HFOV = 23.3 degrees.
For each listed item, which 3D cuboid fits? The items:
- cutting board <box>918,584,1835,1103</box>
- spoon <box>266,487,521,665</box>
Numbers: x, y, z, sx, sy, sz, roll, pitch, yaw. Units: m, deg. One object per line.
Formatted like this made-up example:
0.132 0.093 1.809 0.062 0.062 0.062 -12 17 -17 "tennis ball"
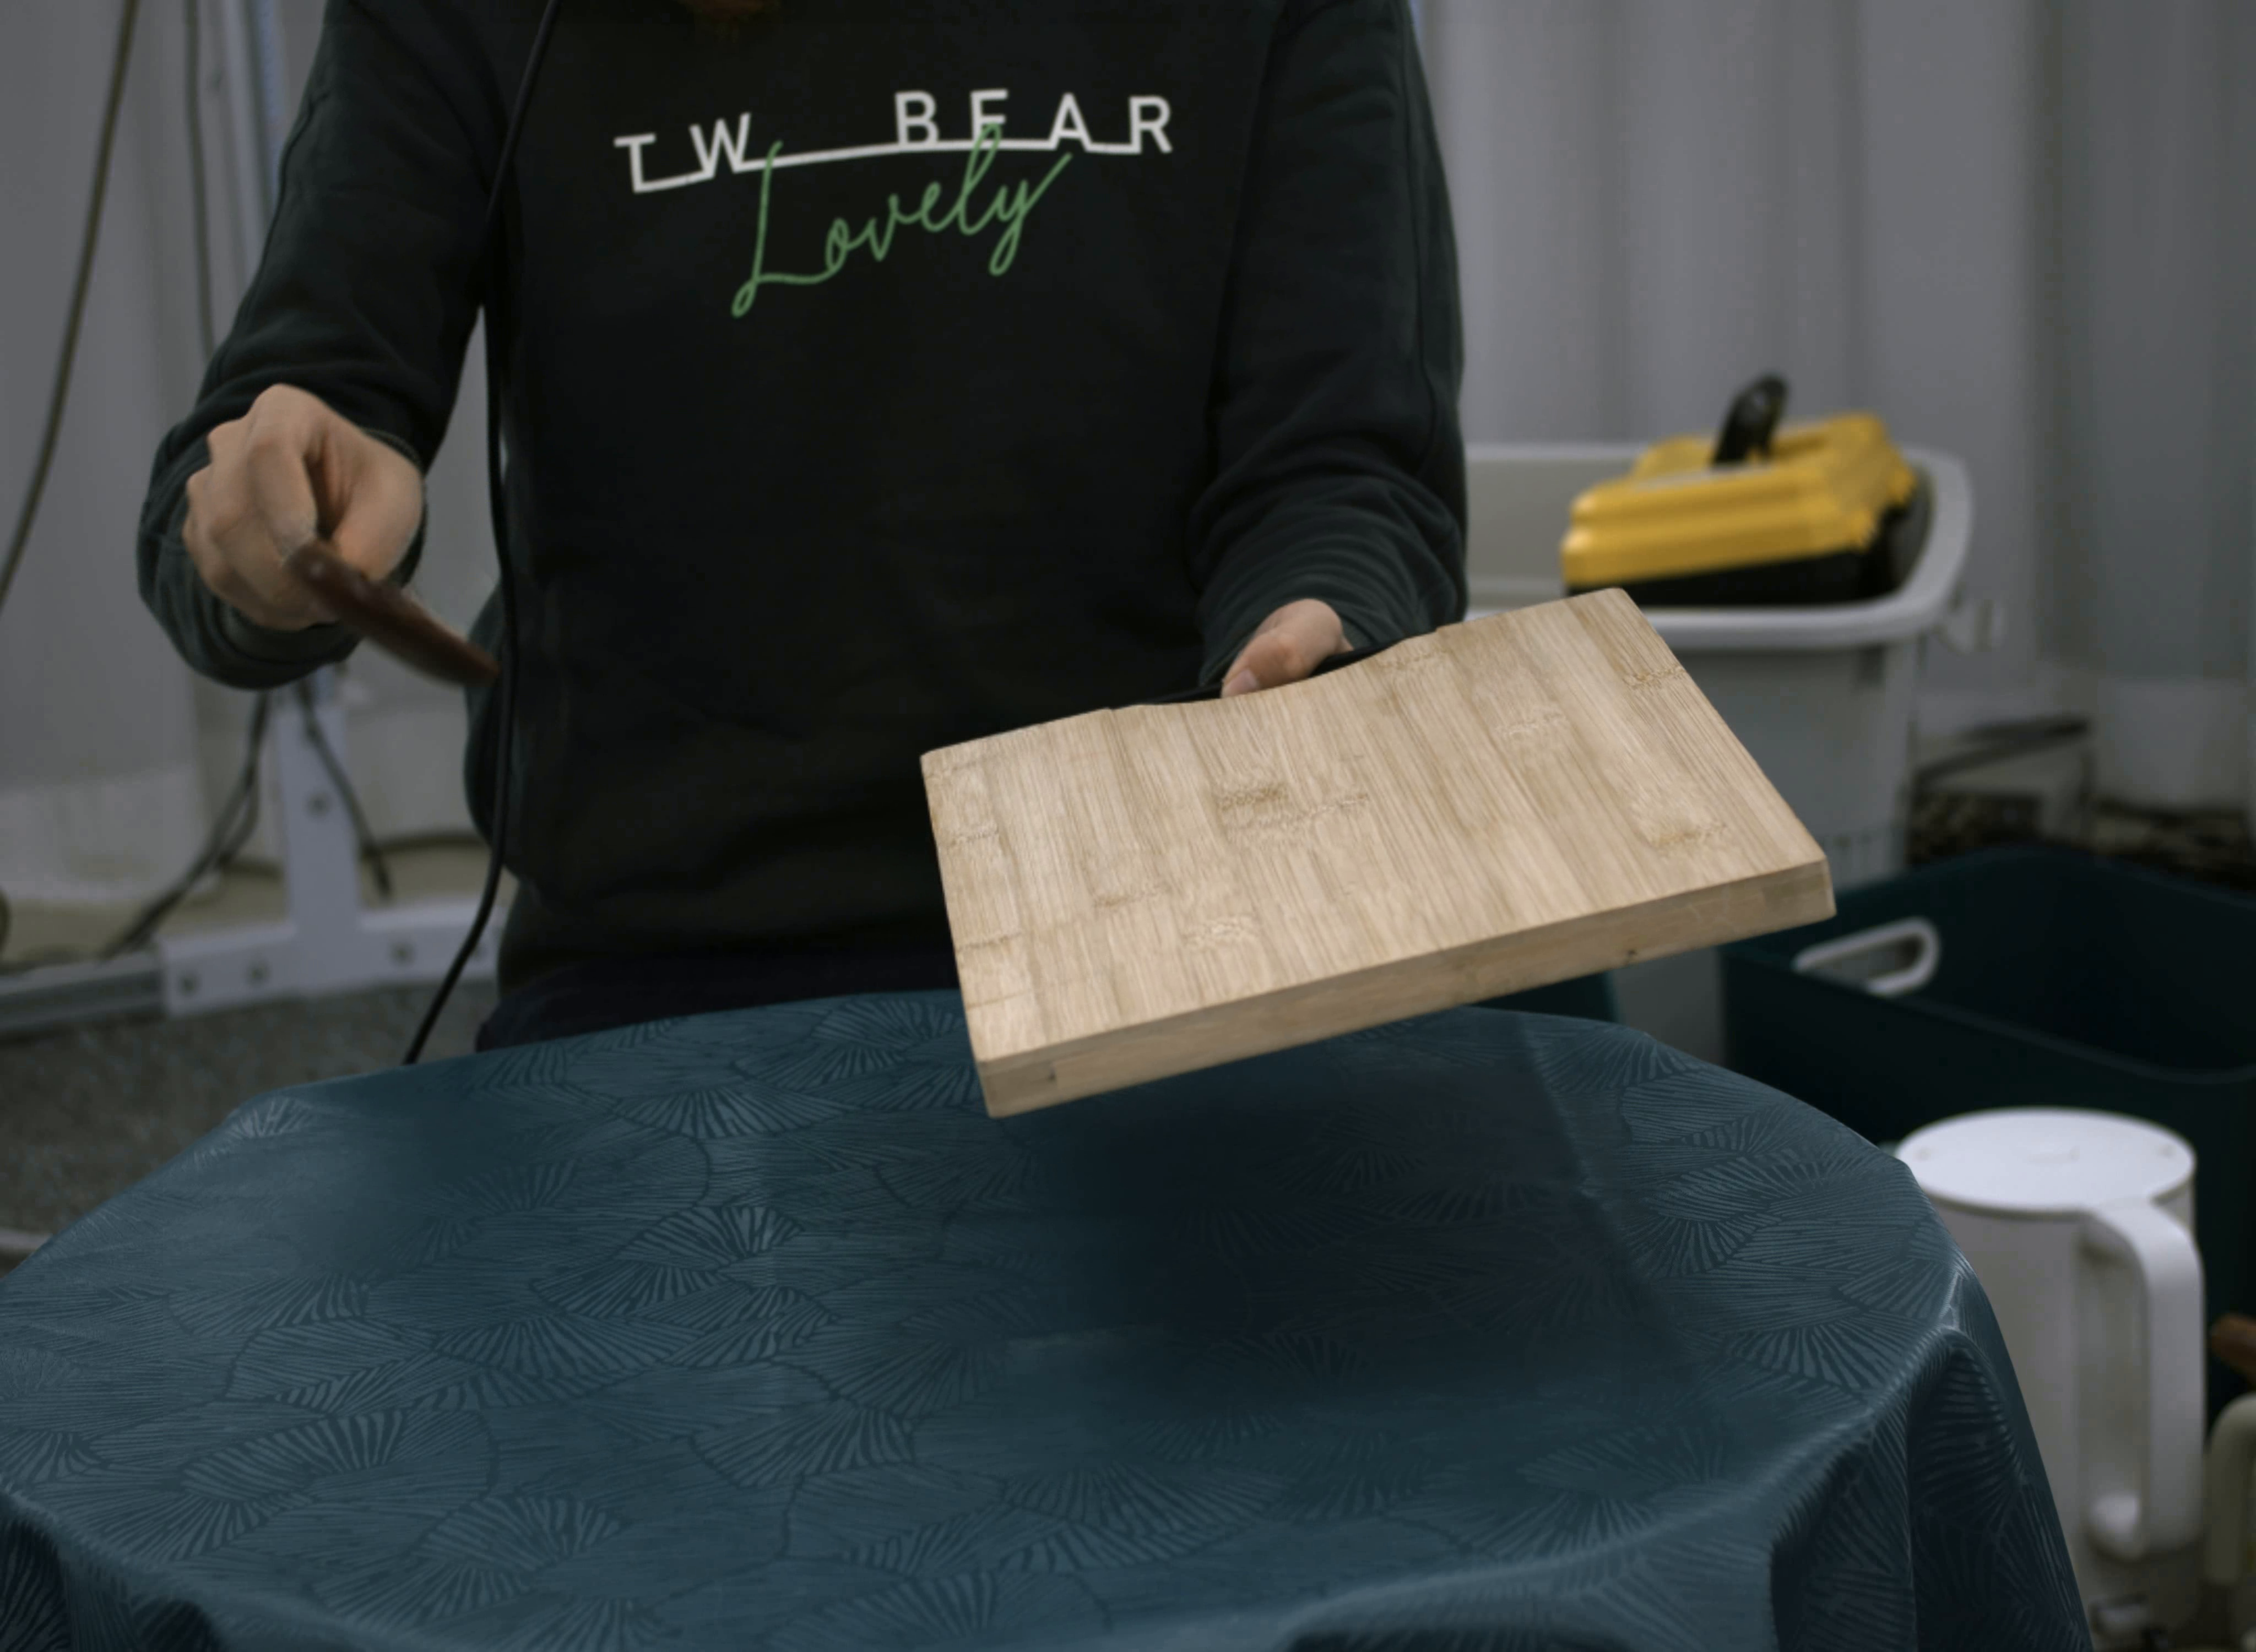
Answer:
0.062 -0.001 1.658 0.250 0.023 0.351 -13 16 -2 "cutting board"
-0.234 -0.078 1.662 0.075 0.017 0.217 30 1 -21 "spoon"
